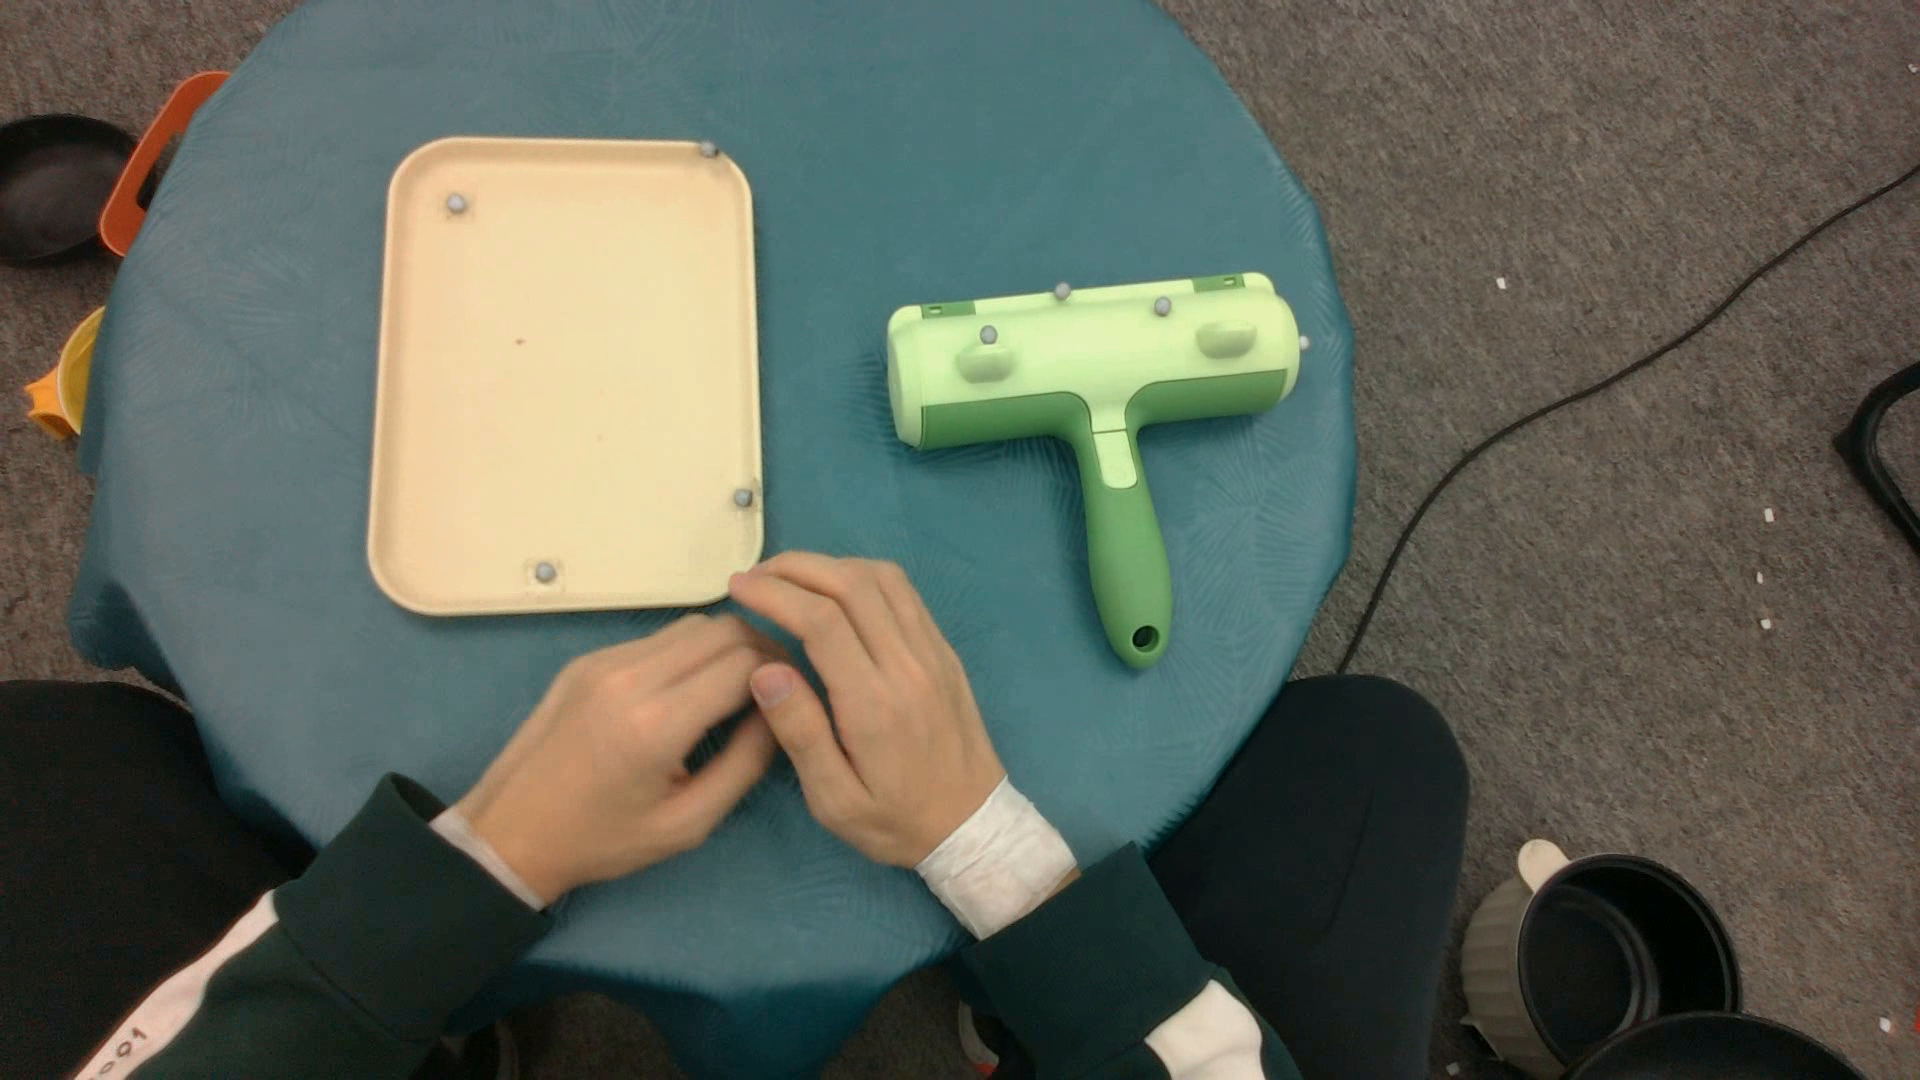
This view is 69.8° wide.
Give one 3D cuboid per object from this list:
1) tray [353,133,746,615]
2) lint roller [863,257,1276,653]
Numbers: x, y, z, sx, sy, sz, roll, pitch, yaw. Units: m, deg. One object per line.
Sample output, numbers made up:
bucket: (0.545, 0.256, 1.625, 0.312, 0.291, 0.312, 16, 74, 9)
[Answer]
tray: (-0.192, -0.083, 0.646, 0.171, 0.017, 0.240, -4, 72, -9)
lint roller: (0.065, -0.044, 0.640, 0.199, 0.082, 0.184, -8, 69, -11)
